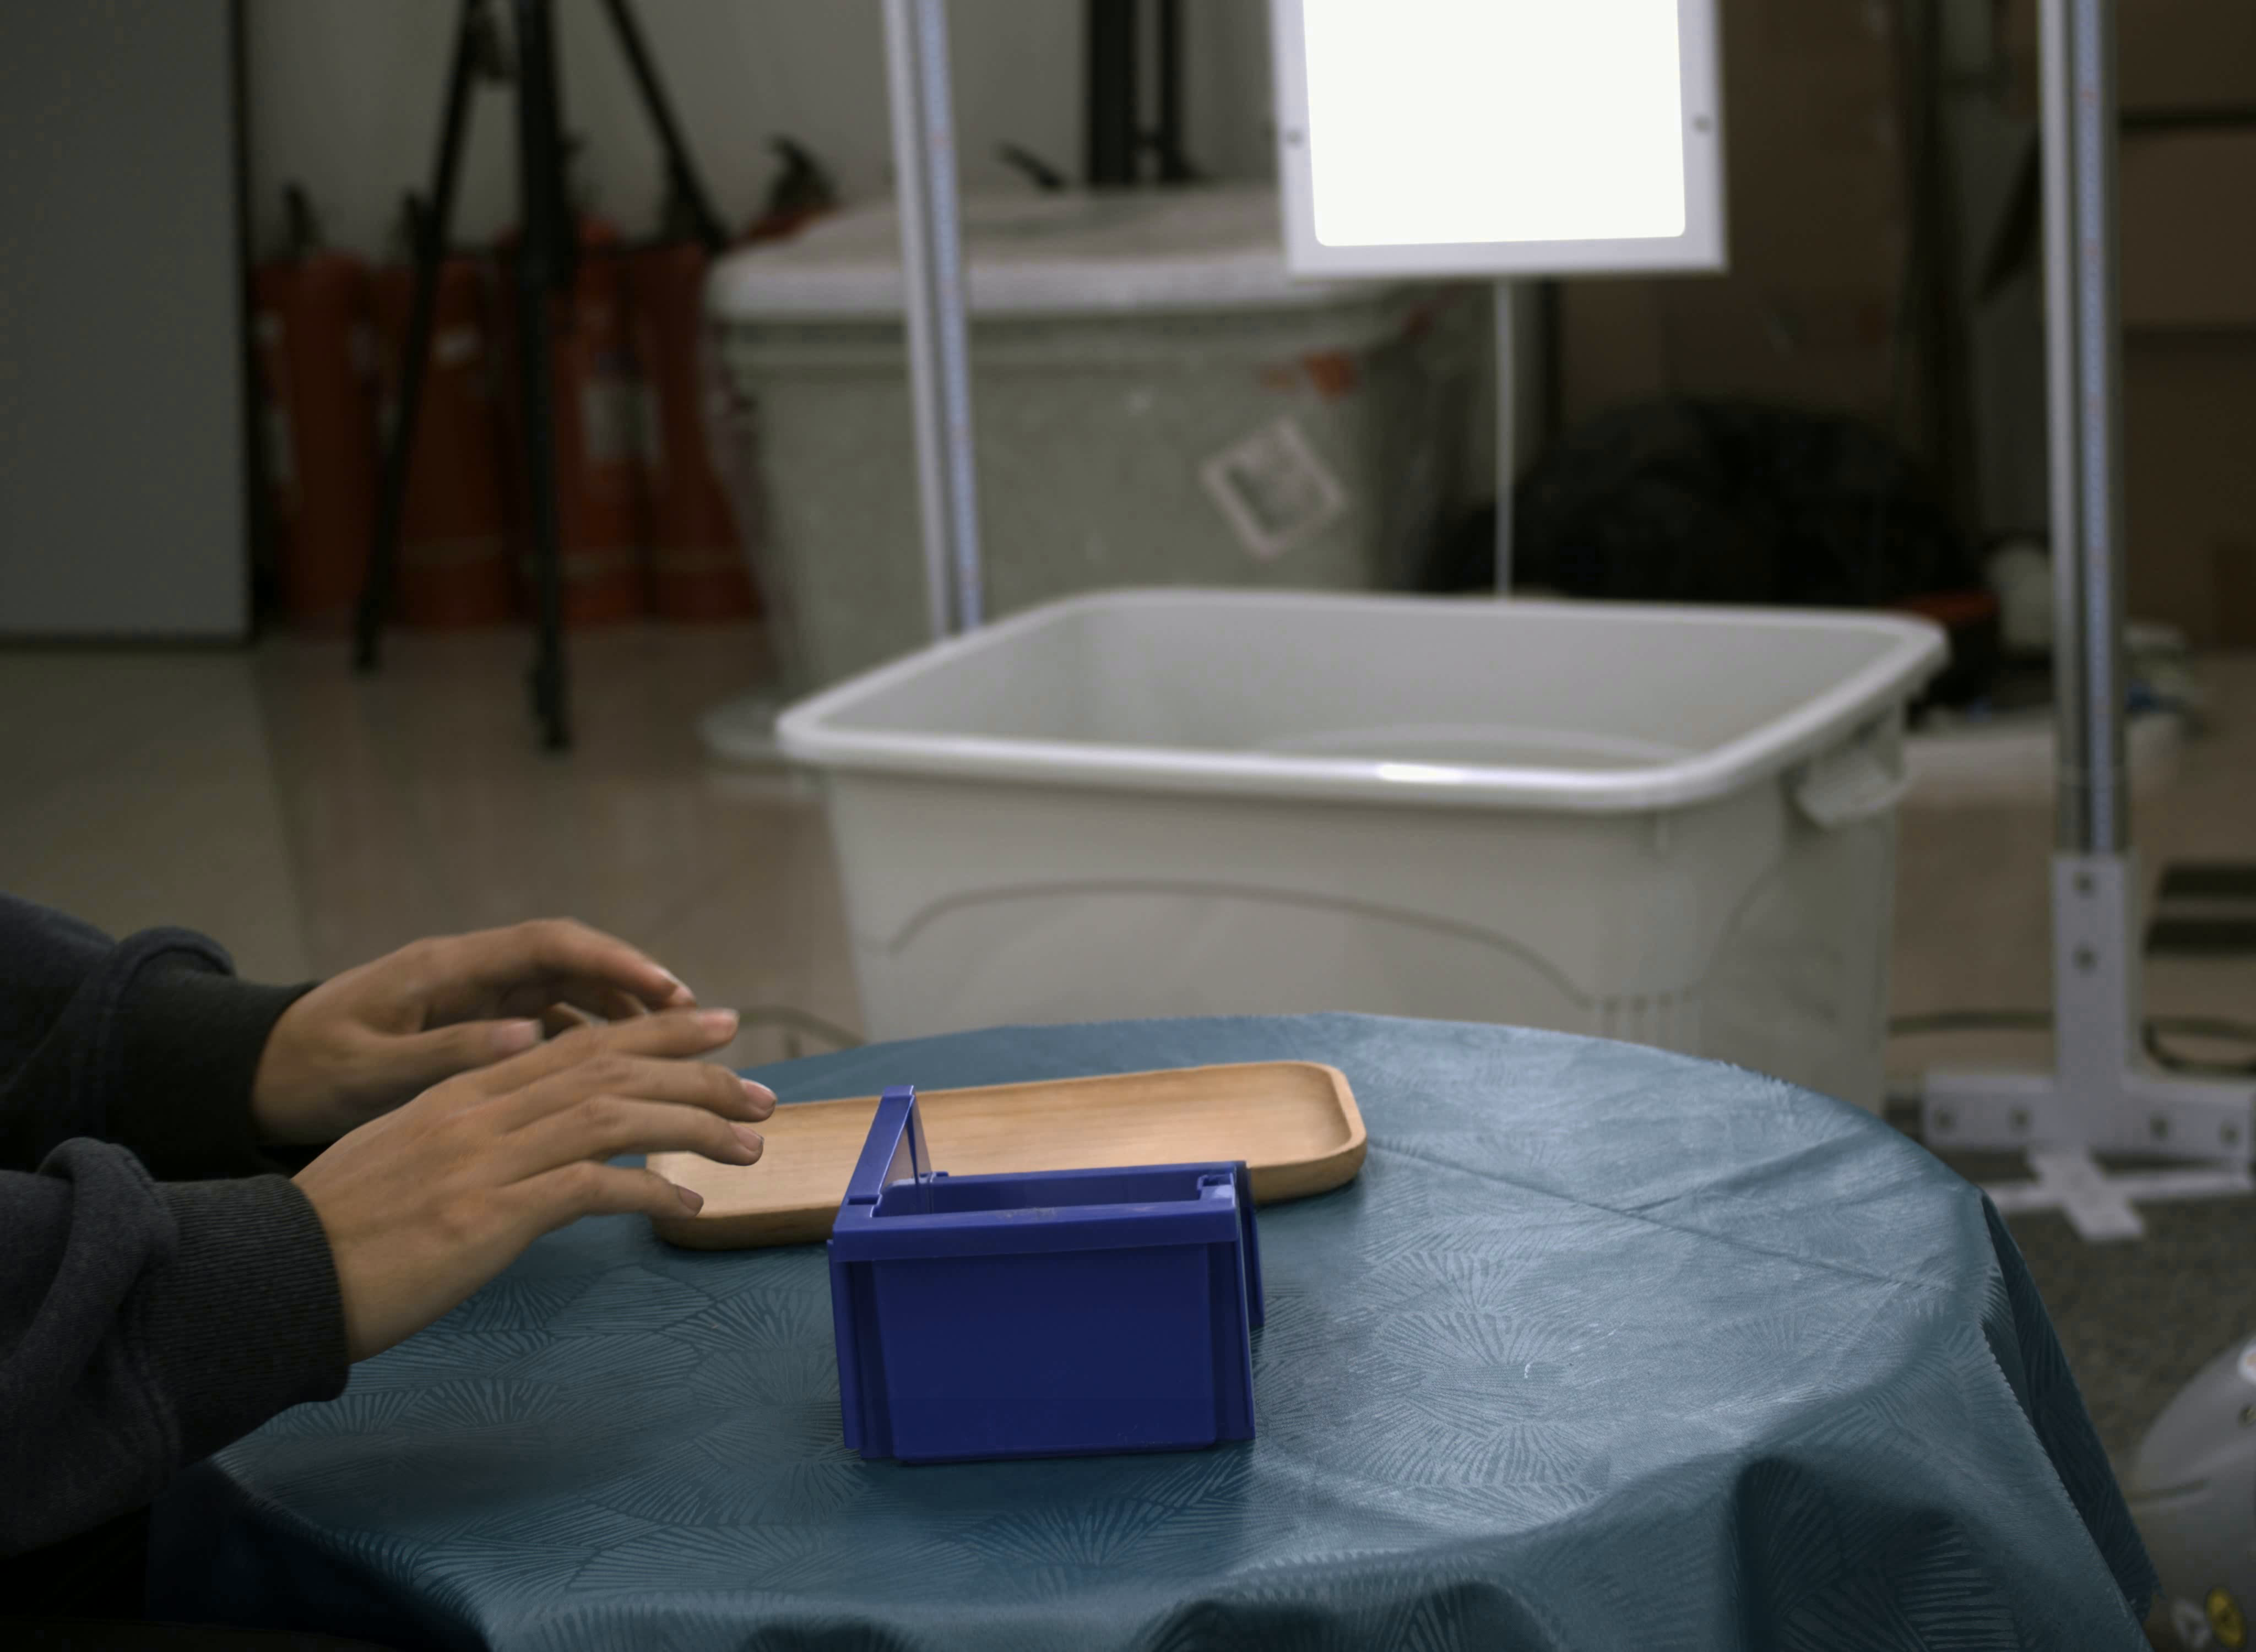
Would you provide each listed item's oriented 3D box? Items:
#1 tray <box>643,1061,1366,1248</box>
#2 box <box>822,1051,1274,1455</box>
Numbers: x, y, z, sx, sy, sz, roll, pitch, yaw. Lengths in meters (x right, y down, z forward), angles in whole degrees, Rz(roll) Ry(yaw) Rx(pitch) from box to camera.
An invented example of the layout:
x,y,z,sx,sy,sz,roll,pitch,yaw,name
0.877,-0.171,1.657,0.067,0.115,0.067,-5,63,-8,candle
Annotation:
x,y,z,sx,sy,sz,roll,pitch,yaw,name
-0.044,0.115,1.926,0.250,0.023,0.130,-6,11,0,tray
-0.022,0.129,1.722,0.125,0.082,0.178,-3,17,7,box
